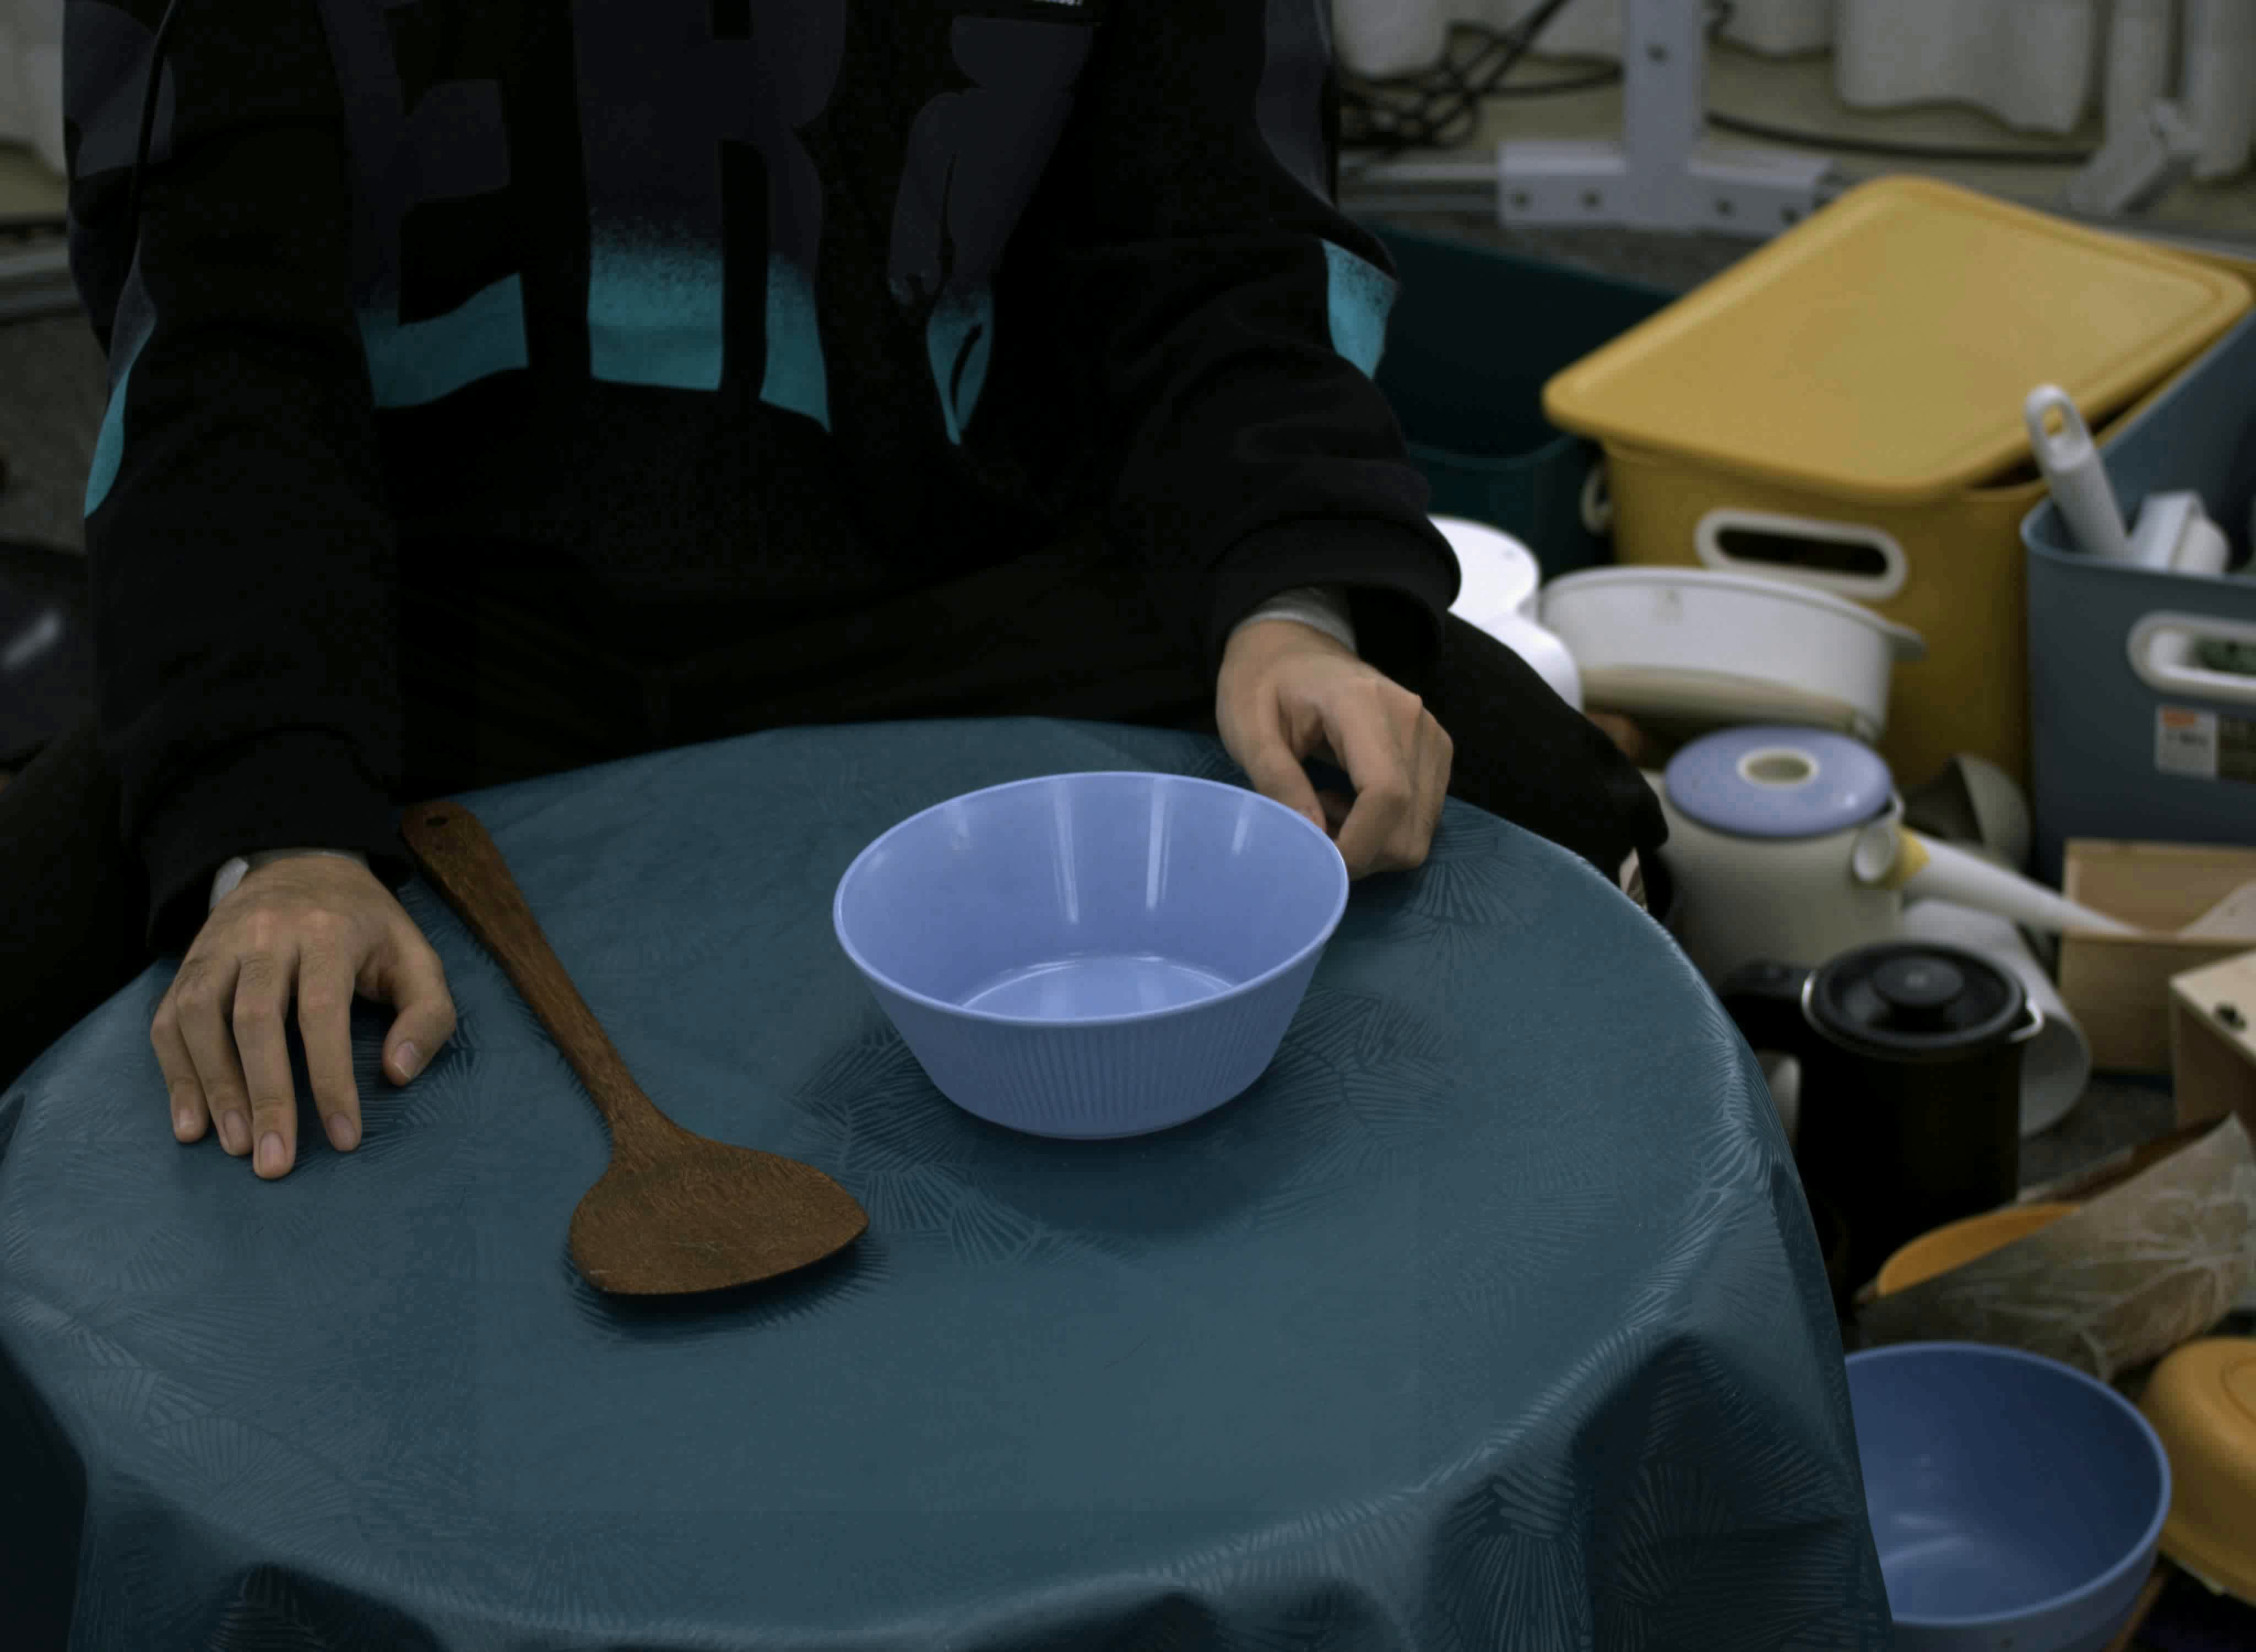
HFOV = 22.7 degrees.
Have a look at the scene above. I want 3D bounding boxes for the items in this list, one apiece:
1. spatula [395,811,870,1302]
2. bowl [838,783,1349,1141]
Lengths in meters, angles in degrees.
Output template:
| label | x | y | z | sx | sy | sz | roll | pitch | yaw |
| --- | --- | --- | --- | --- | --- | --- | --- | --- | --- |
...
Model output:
| label | x | y | z | sx | sy | sz | roll | pitch | yaw |
| --- | --- | --- | --- | --- | --- | --- | --- | --- | --- |
| spatula | -0.193 | 0.072 | 1.962 | 0.096 | 0.015 | 0.389 | -13 | 29 | -19 |
| bowl | -0.010 | 0.052 | 1.922 | 0.175 | 0.069 | 0.178 | -3 | 26 | 2 |
